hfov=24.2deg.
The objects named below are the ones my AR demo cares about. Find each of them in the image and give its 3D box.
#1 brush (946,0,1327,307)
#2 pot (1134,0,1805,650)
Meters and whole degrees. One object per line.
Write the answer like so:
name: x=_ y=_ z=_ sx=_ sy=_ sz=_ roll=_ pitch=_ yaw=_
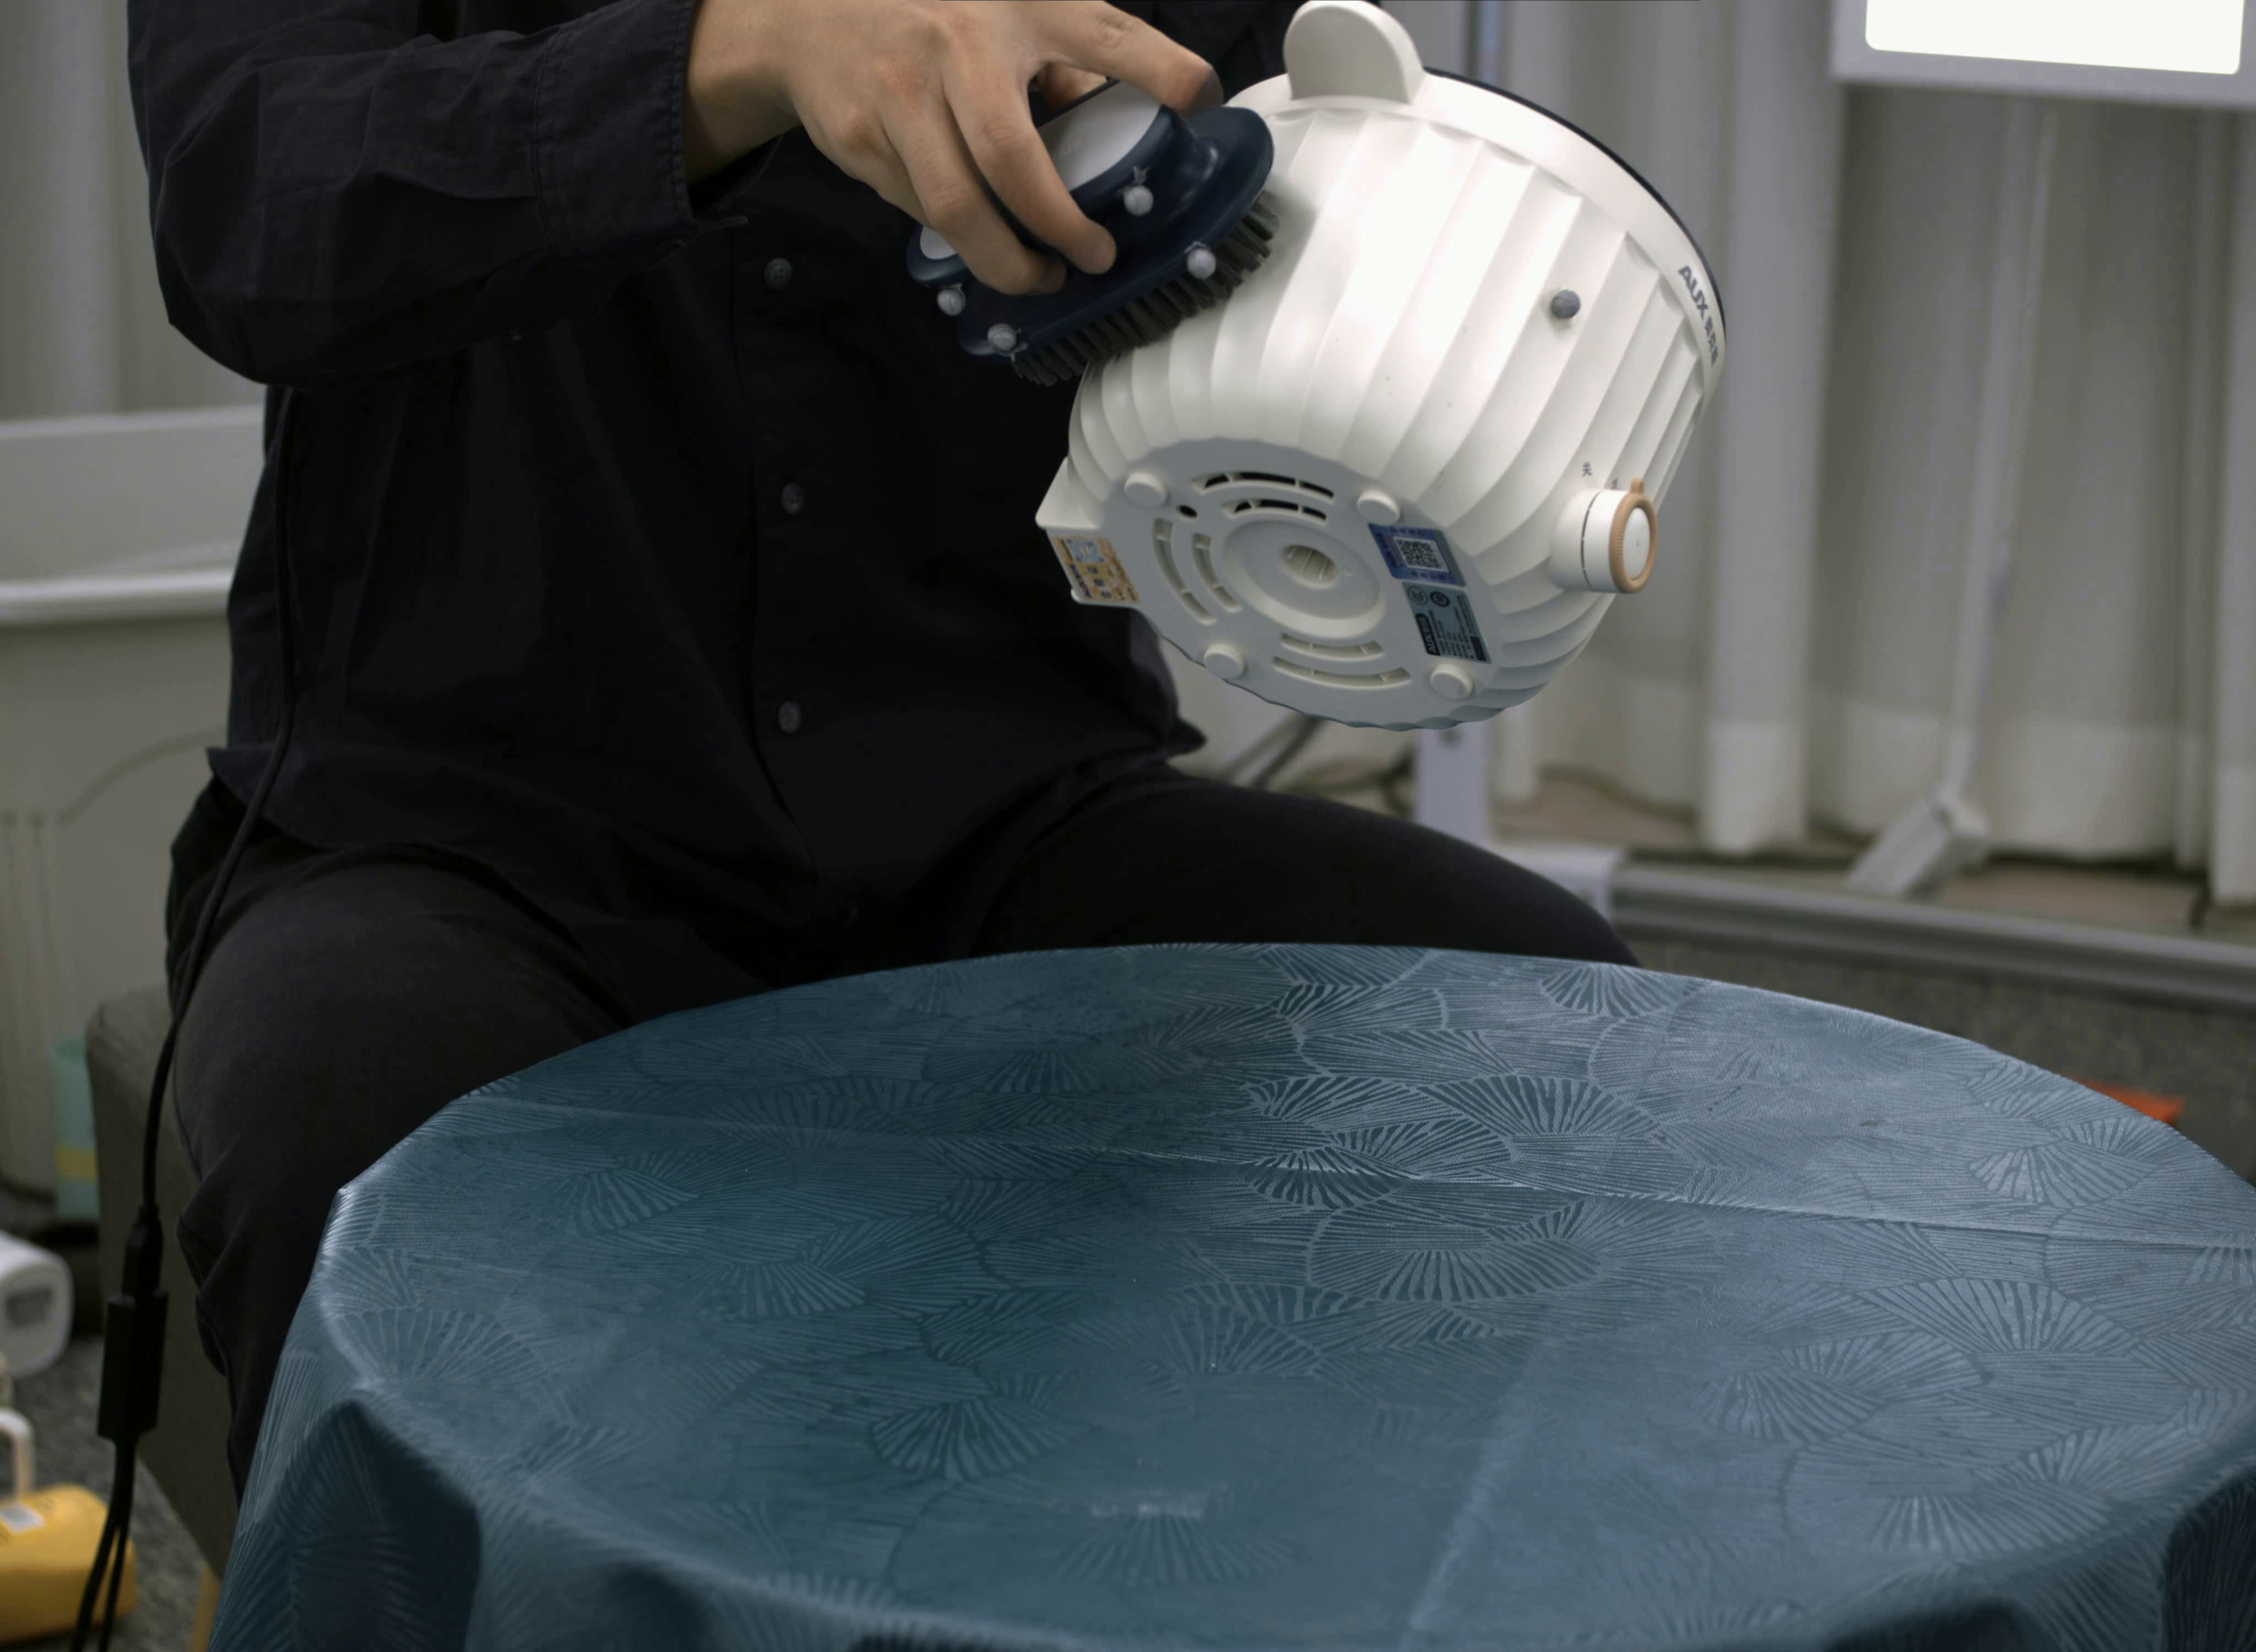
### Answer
brush: x=0.004 y=-0.202 z=1.588 sx=0.121 sy=0.062 sz=0.067 roll=-19 pitch=42 yaw=38
pot: x=0.111 y=-0.148 z=1.650 sx=0.188 sy=0.244 sz=0.142 roll=5 pitch=54 yaw=26
